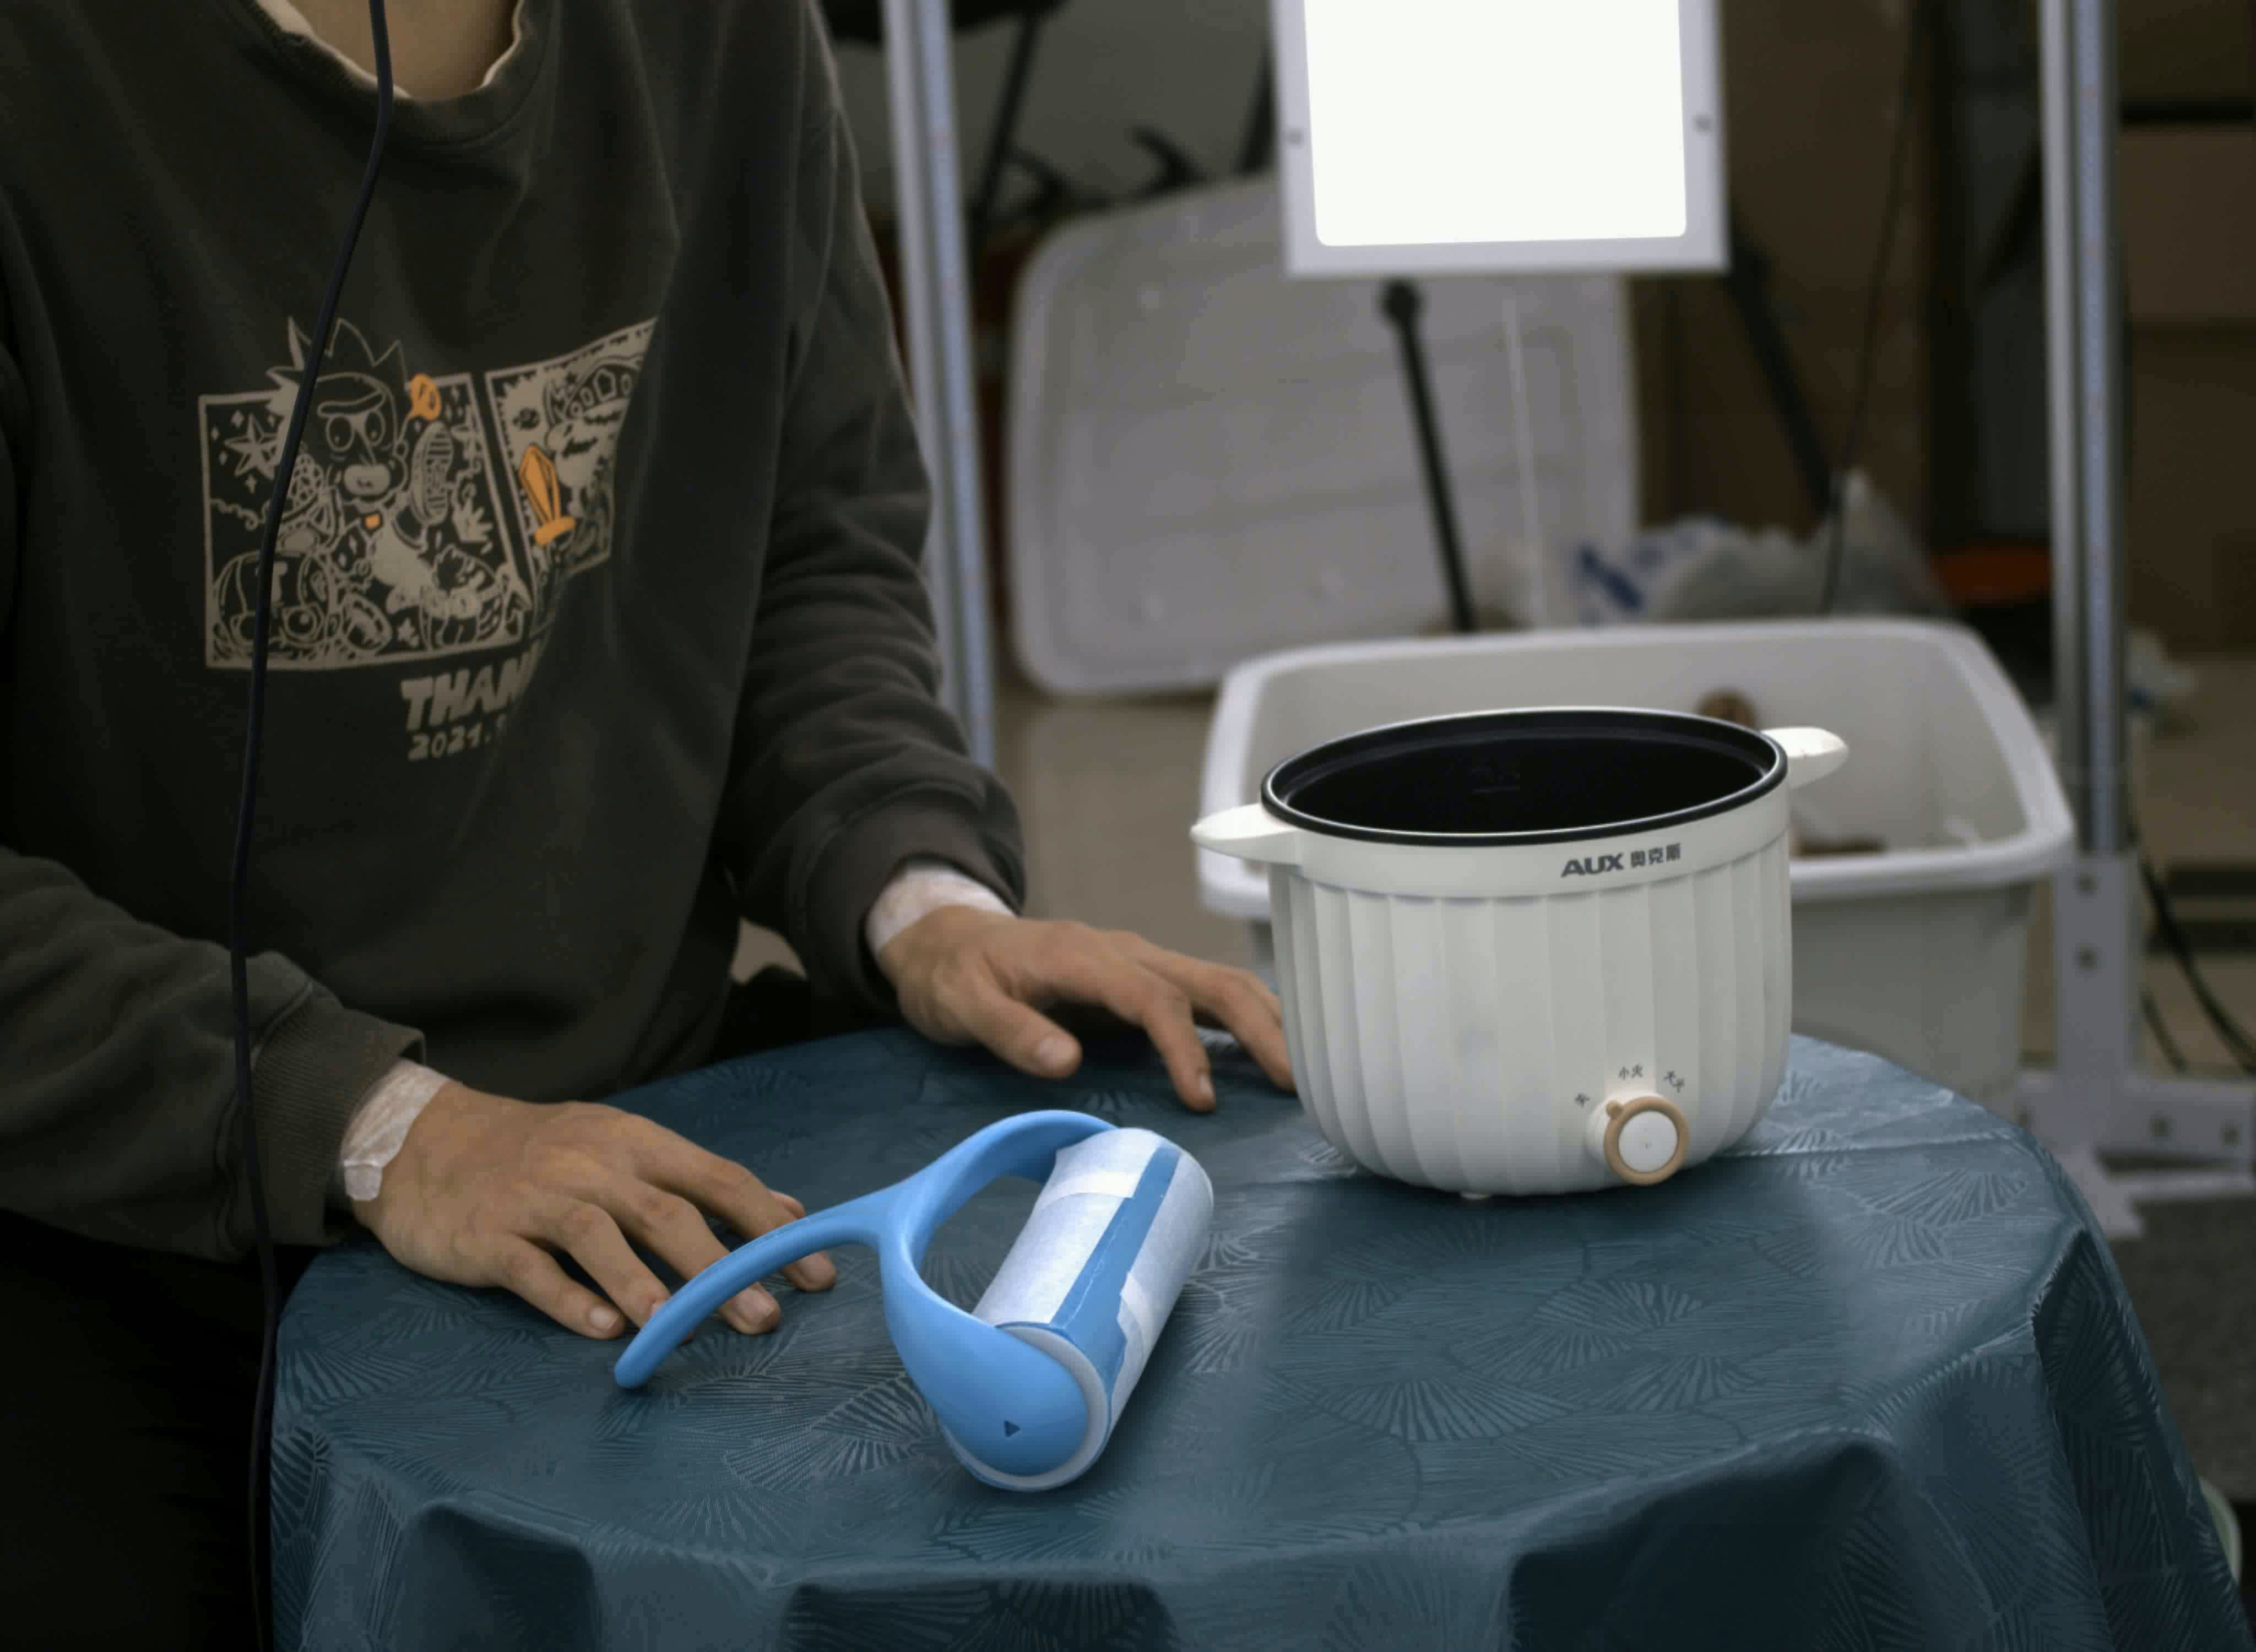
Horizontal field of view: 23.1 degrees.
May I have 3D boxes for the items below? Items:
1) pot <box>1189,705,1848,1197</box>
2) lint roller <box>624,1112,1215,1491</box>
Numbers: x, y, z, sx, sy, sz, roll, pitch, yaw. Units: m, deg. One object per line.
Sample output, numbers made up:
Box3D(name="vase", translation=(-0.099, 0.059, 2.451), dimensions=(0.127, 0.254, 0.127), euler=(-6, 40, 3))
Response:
Box3D(name="pot", translation=(0.143, 0.044, 1.885), dimensions=(0.237, 0.143, 0.192), euler=(-10, 12, -14))
Box3D(name="lint roller", translation=(-0.072, 0.147, 1.719), dimensions=(0.181, 0.068, 0.227), euler=(-2, 15, 9))
